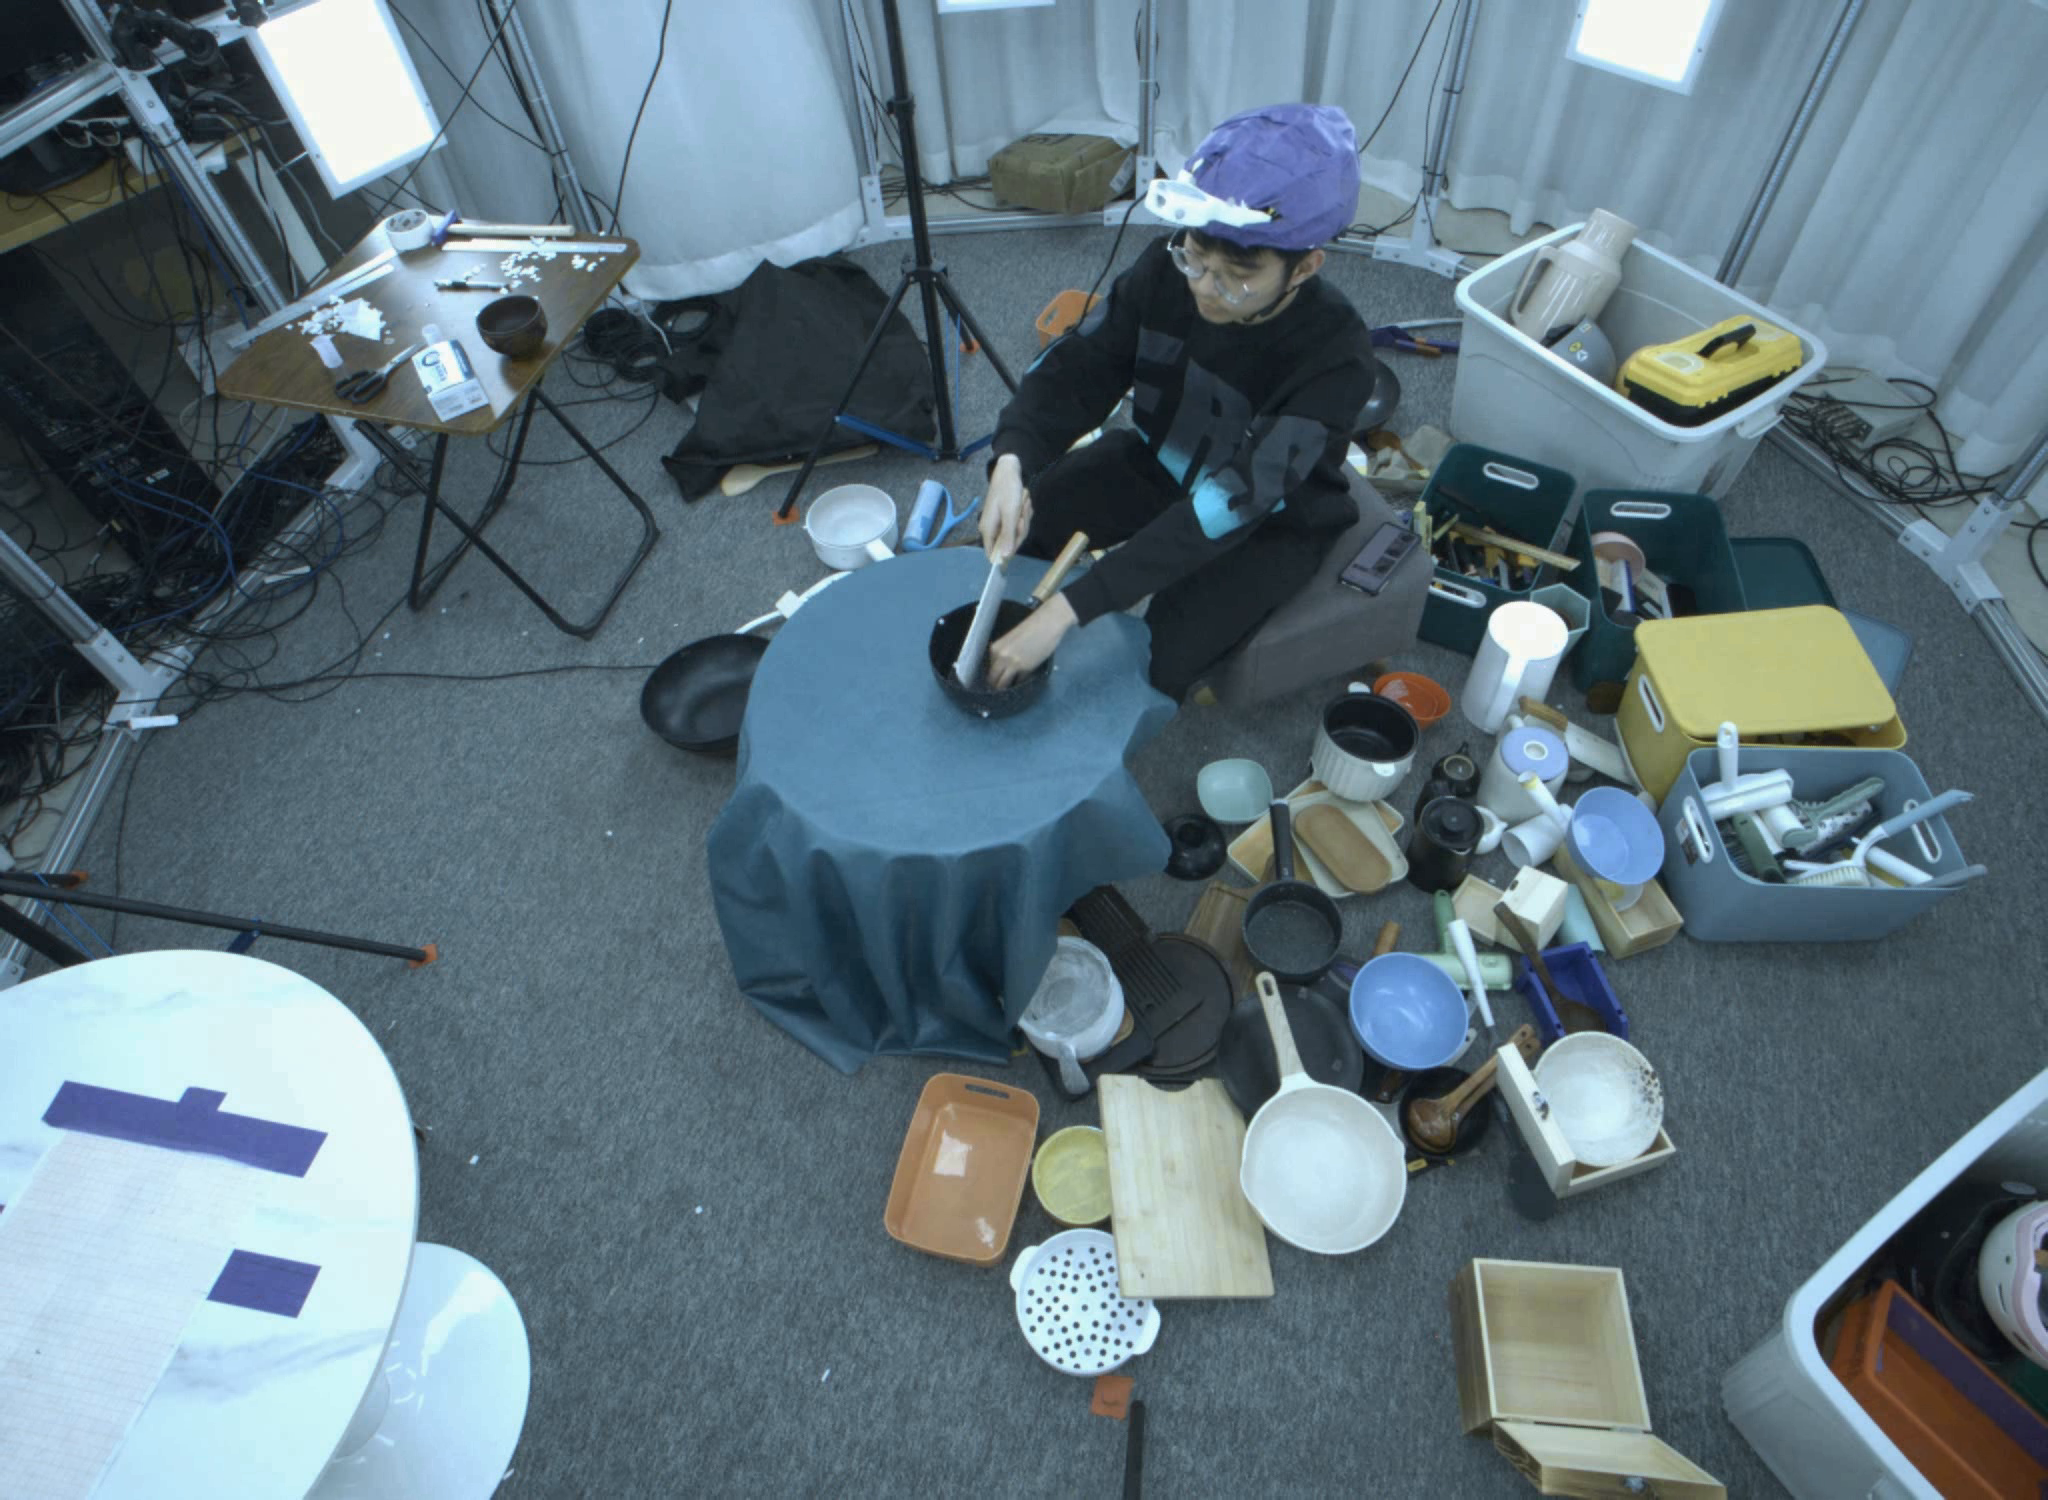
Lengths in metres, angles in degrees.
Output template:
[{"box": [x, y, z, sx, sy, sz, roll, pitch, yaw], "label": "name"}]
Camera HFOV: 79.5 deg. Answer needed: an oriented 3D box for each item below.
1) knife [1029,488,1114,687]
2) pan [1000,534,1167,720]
[{"box": [0.067, -0.237, 1.784, 0.021, 0.115, 0.315, 19, 82, 16], "label": "knife"}, {"box": [0.107, -0.189, 1.849, 0.204, 0.109, 0.344, 30, 62, 23], "label": "pan"}]
